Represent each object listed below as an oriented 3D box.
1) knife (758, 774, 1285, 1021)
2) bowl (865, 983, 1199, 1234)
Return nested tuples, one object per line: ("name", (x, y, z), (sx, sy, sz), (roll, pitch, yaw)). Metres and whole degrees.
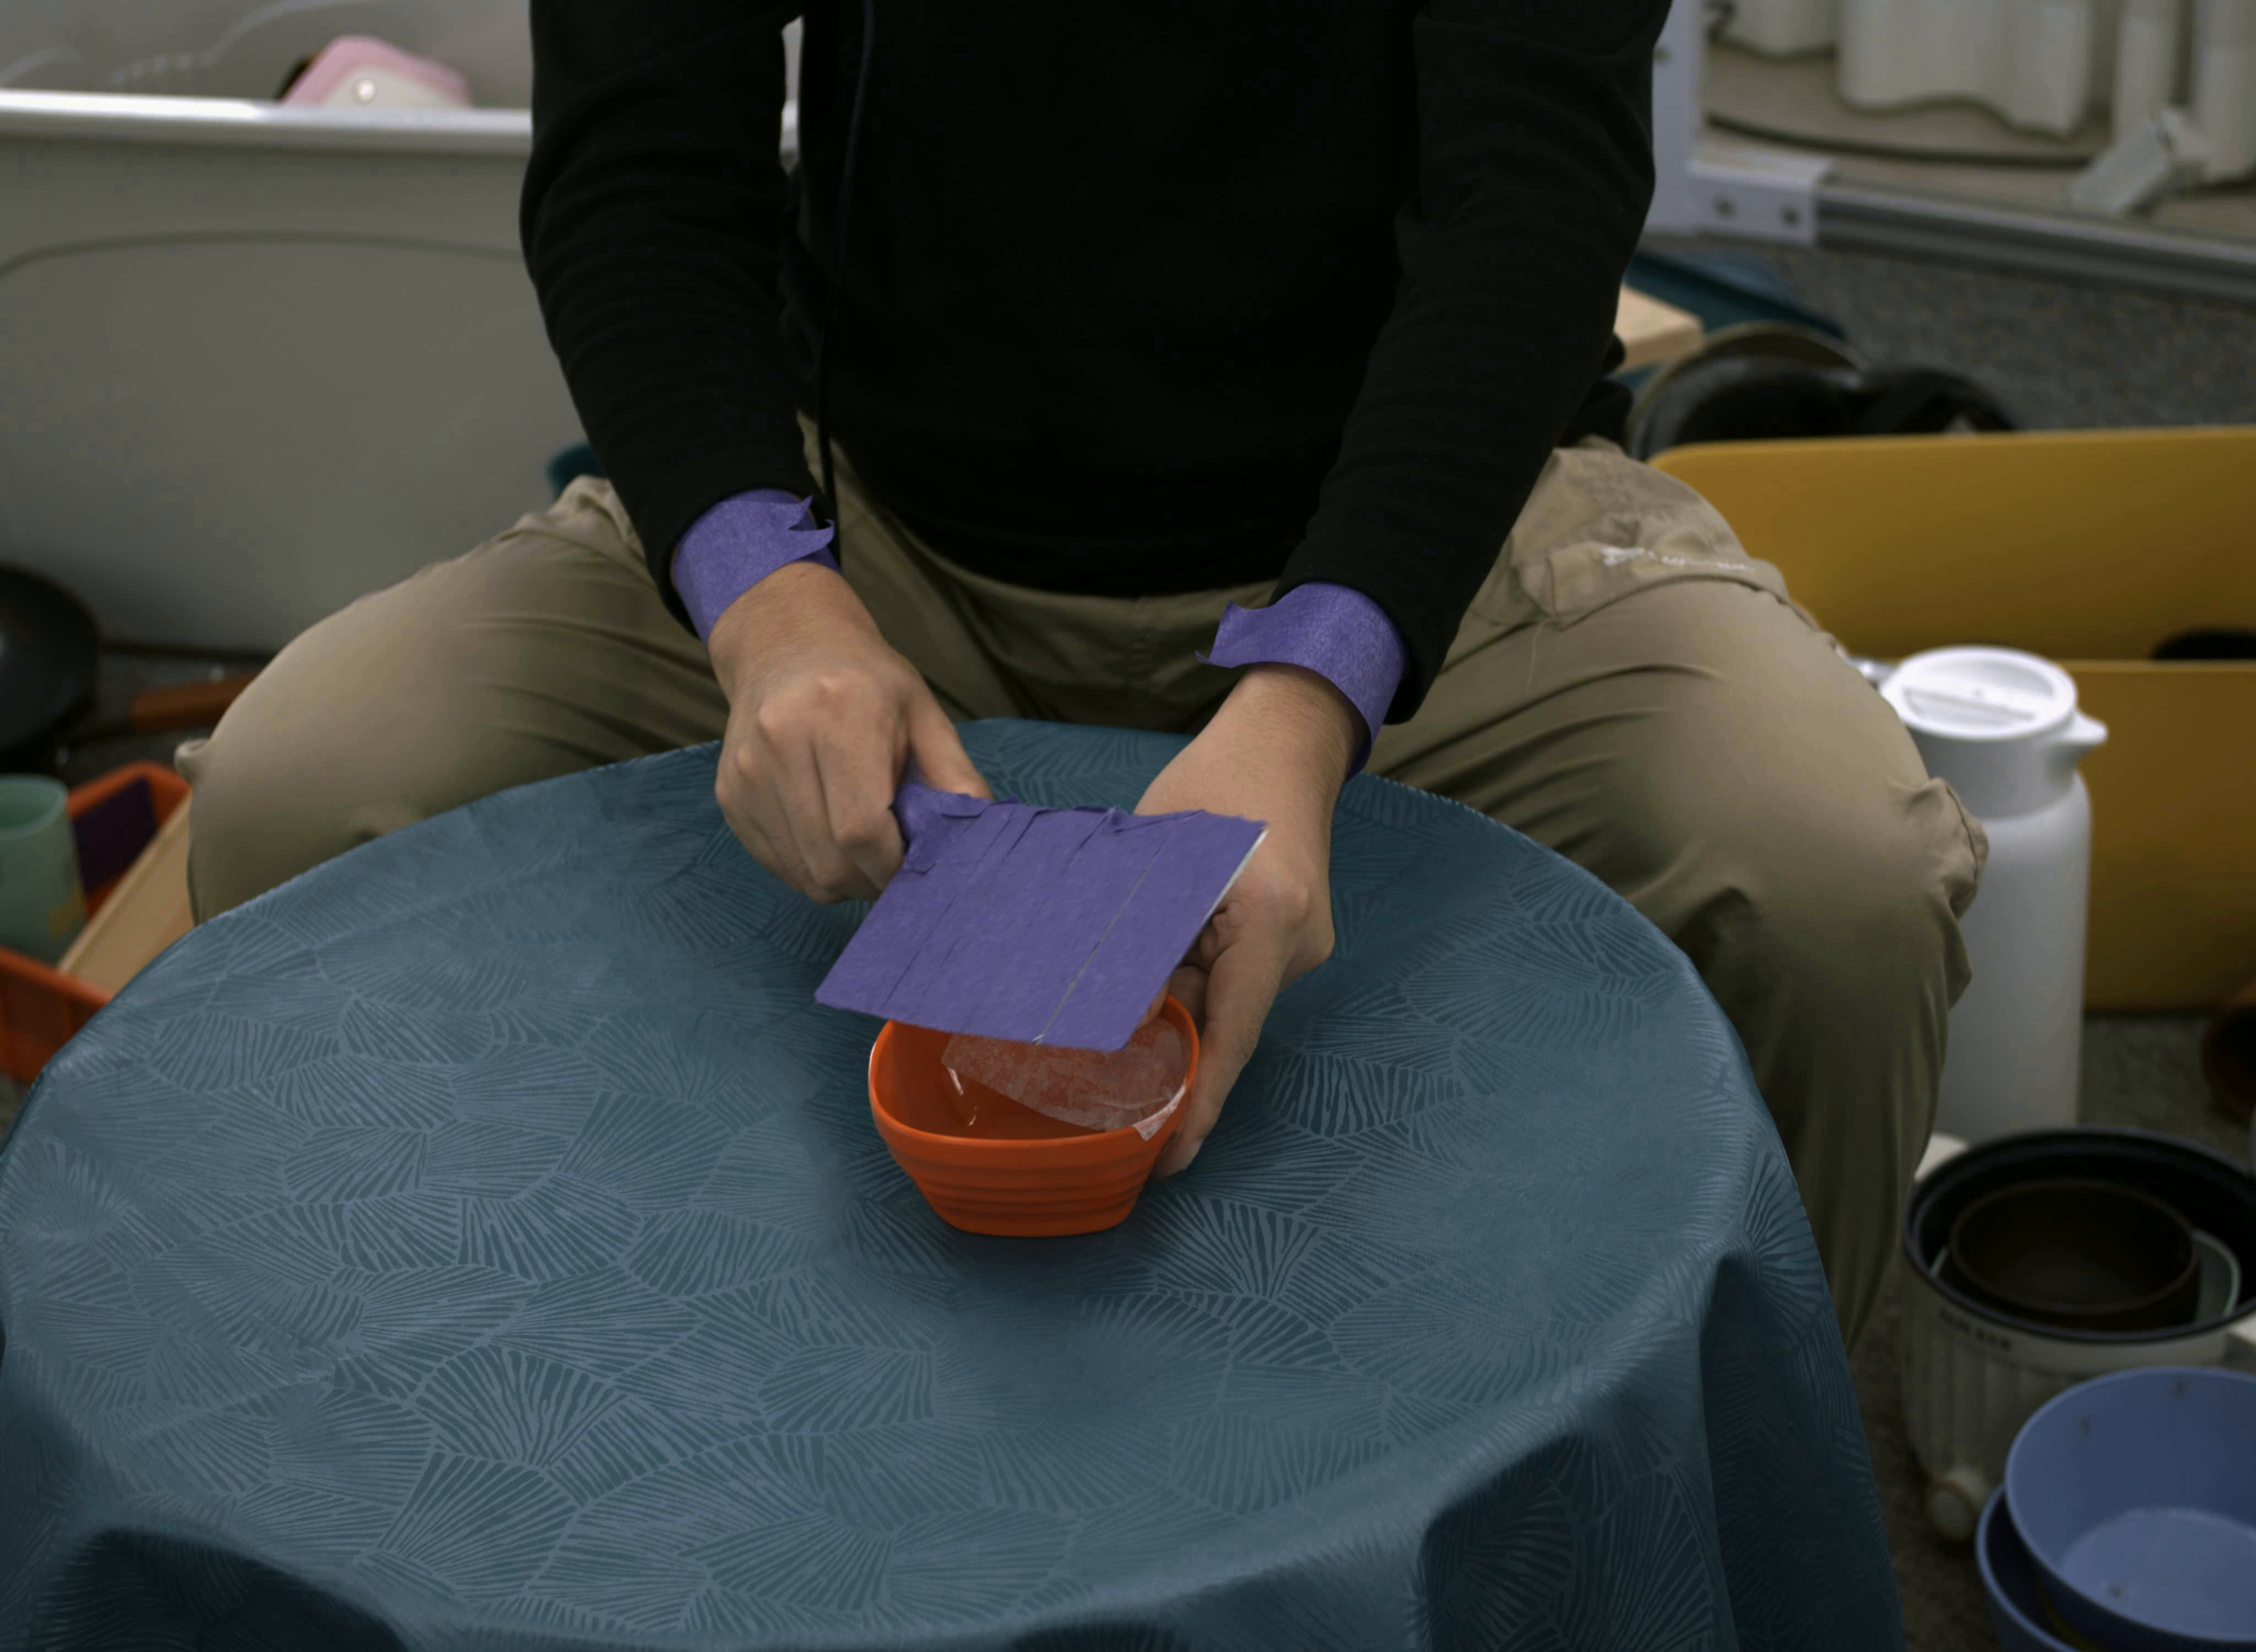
("knife", (-0.058, 0.022, 1.890), (0.105, 0.032, 0.313), (-55, 25, -19))
("bowl", (-0.030, 0.095, 1.852), (0.118, 0.051, 0.121), (-3, 30, 2))
